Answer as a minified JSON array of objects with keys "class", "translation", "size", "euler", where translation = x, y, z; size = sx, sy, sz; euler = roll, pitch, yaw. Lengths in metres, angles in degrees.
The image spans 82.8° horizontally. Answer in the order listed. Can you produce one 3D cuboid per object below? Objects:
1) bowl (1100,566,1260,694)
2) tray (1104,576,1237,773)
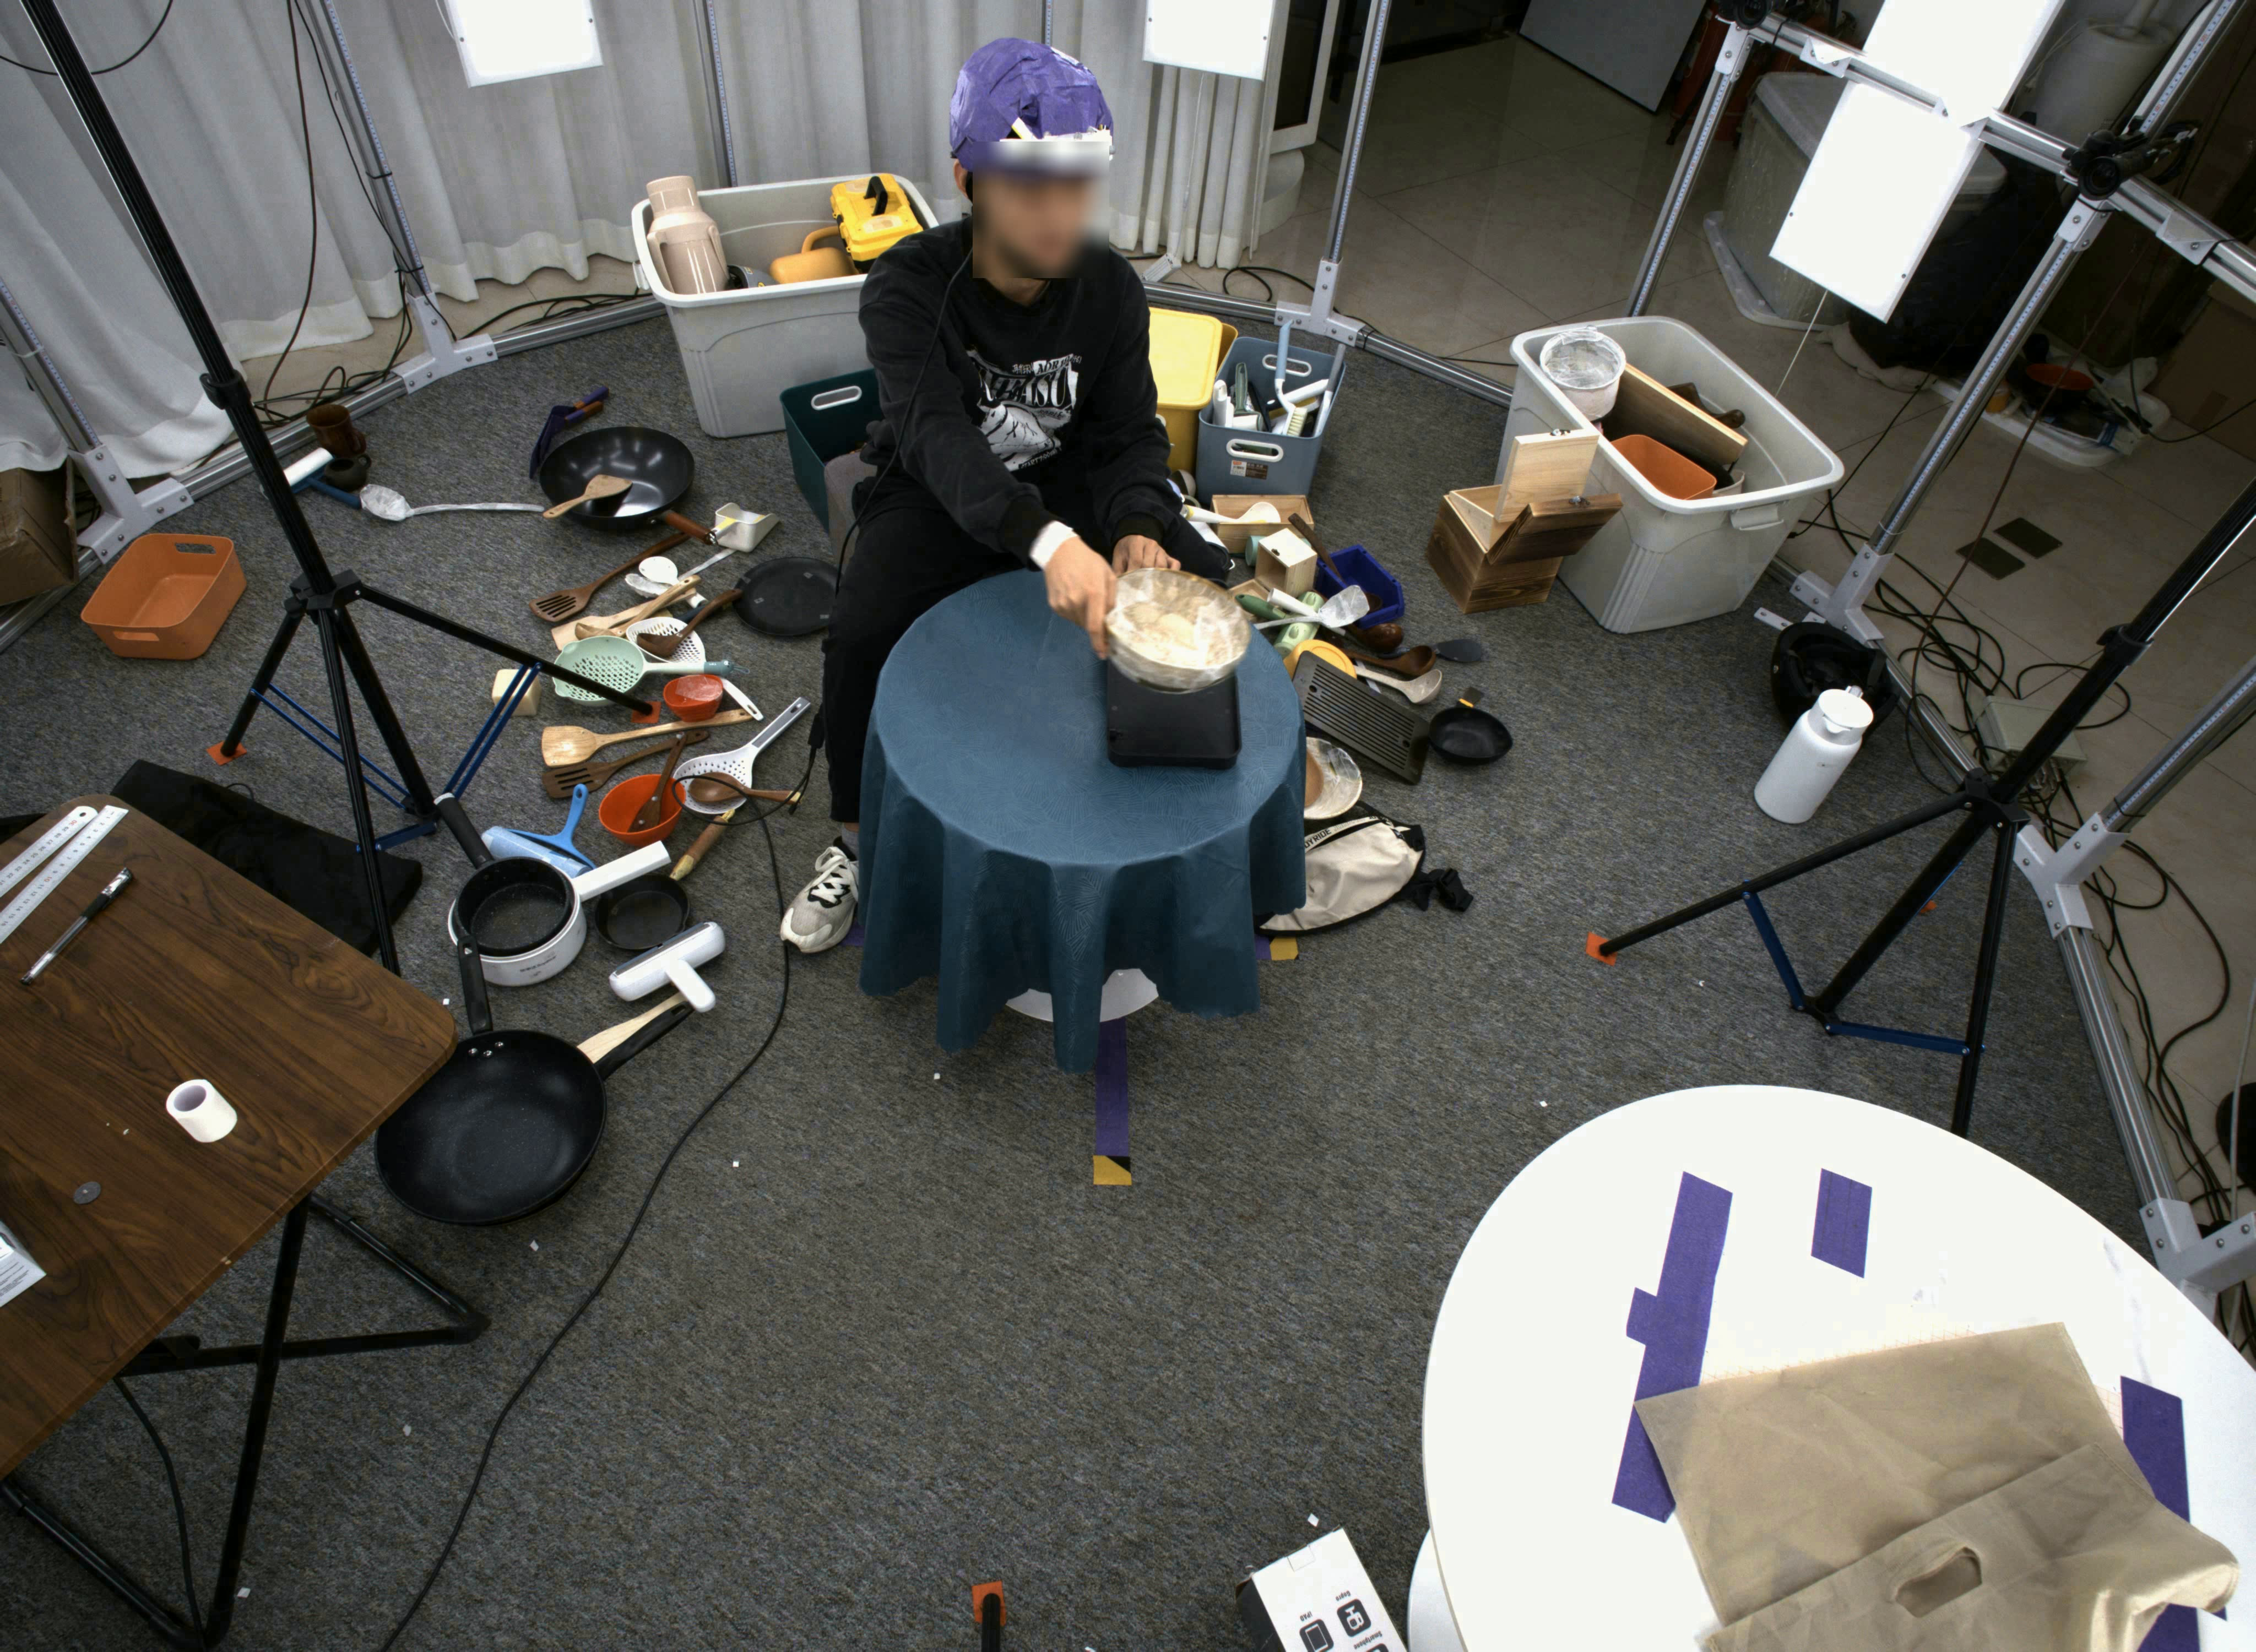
[{"class":"bowl","translation":[0.058,-0.243,1.691],"size":[0.214,0.092,0.220],"euler":[7,45,-8]},{"class":"tray","translation":[0.060,-0.220,1.830],"size":[0.184,0.036,0.325],"euler":[3,58,-3]}]
